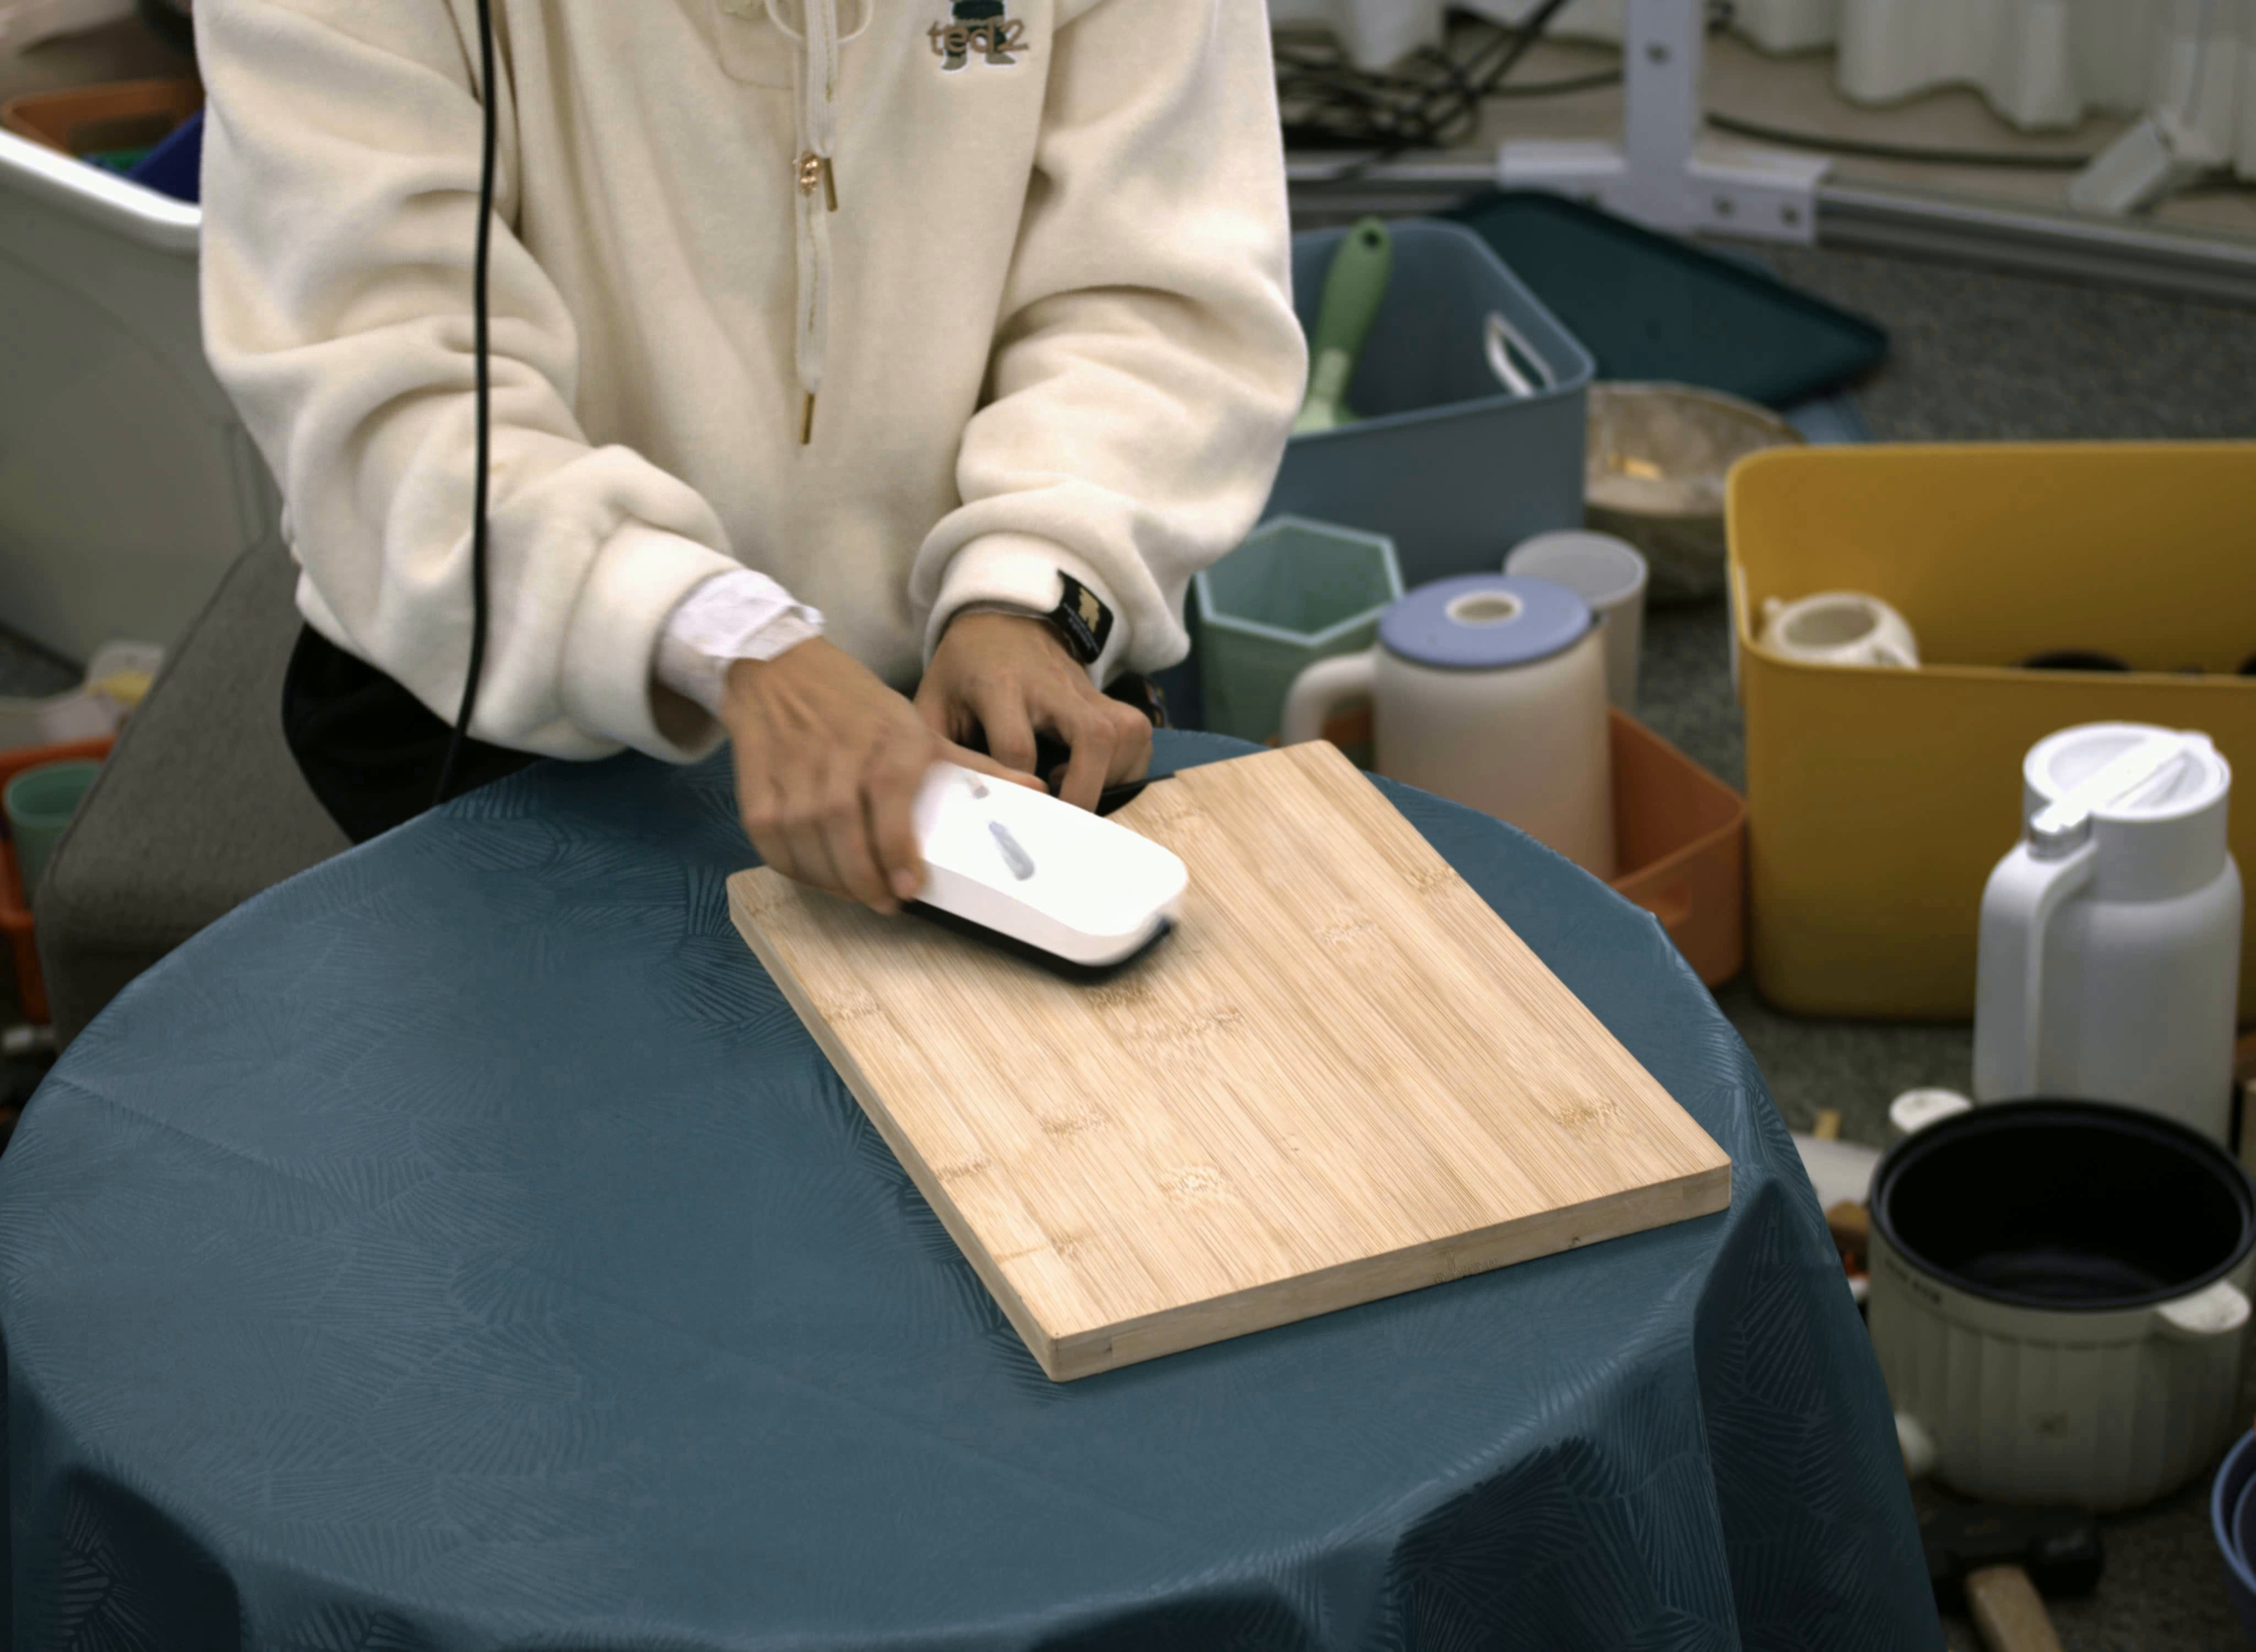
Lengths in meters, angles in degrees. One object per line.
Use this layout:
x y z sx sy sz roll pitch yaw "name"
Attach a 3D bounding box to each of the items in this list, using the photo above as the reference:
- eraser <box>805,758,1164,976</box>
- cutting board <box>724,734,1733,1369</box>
-0.050 0.011 1.990 0.131 0.034 0.064 22 37 32 "eraser"
0.025 0.070 1.941 0.251 0.023 0.351 -13 28 -18 "cutting board"
